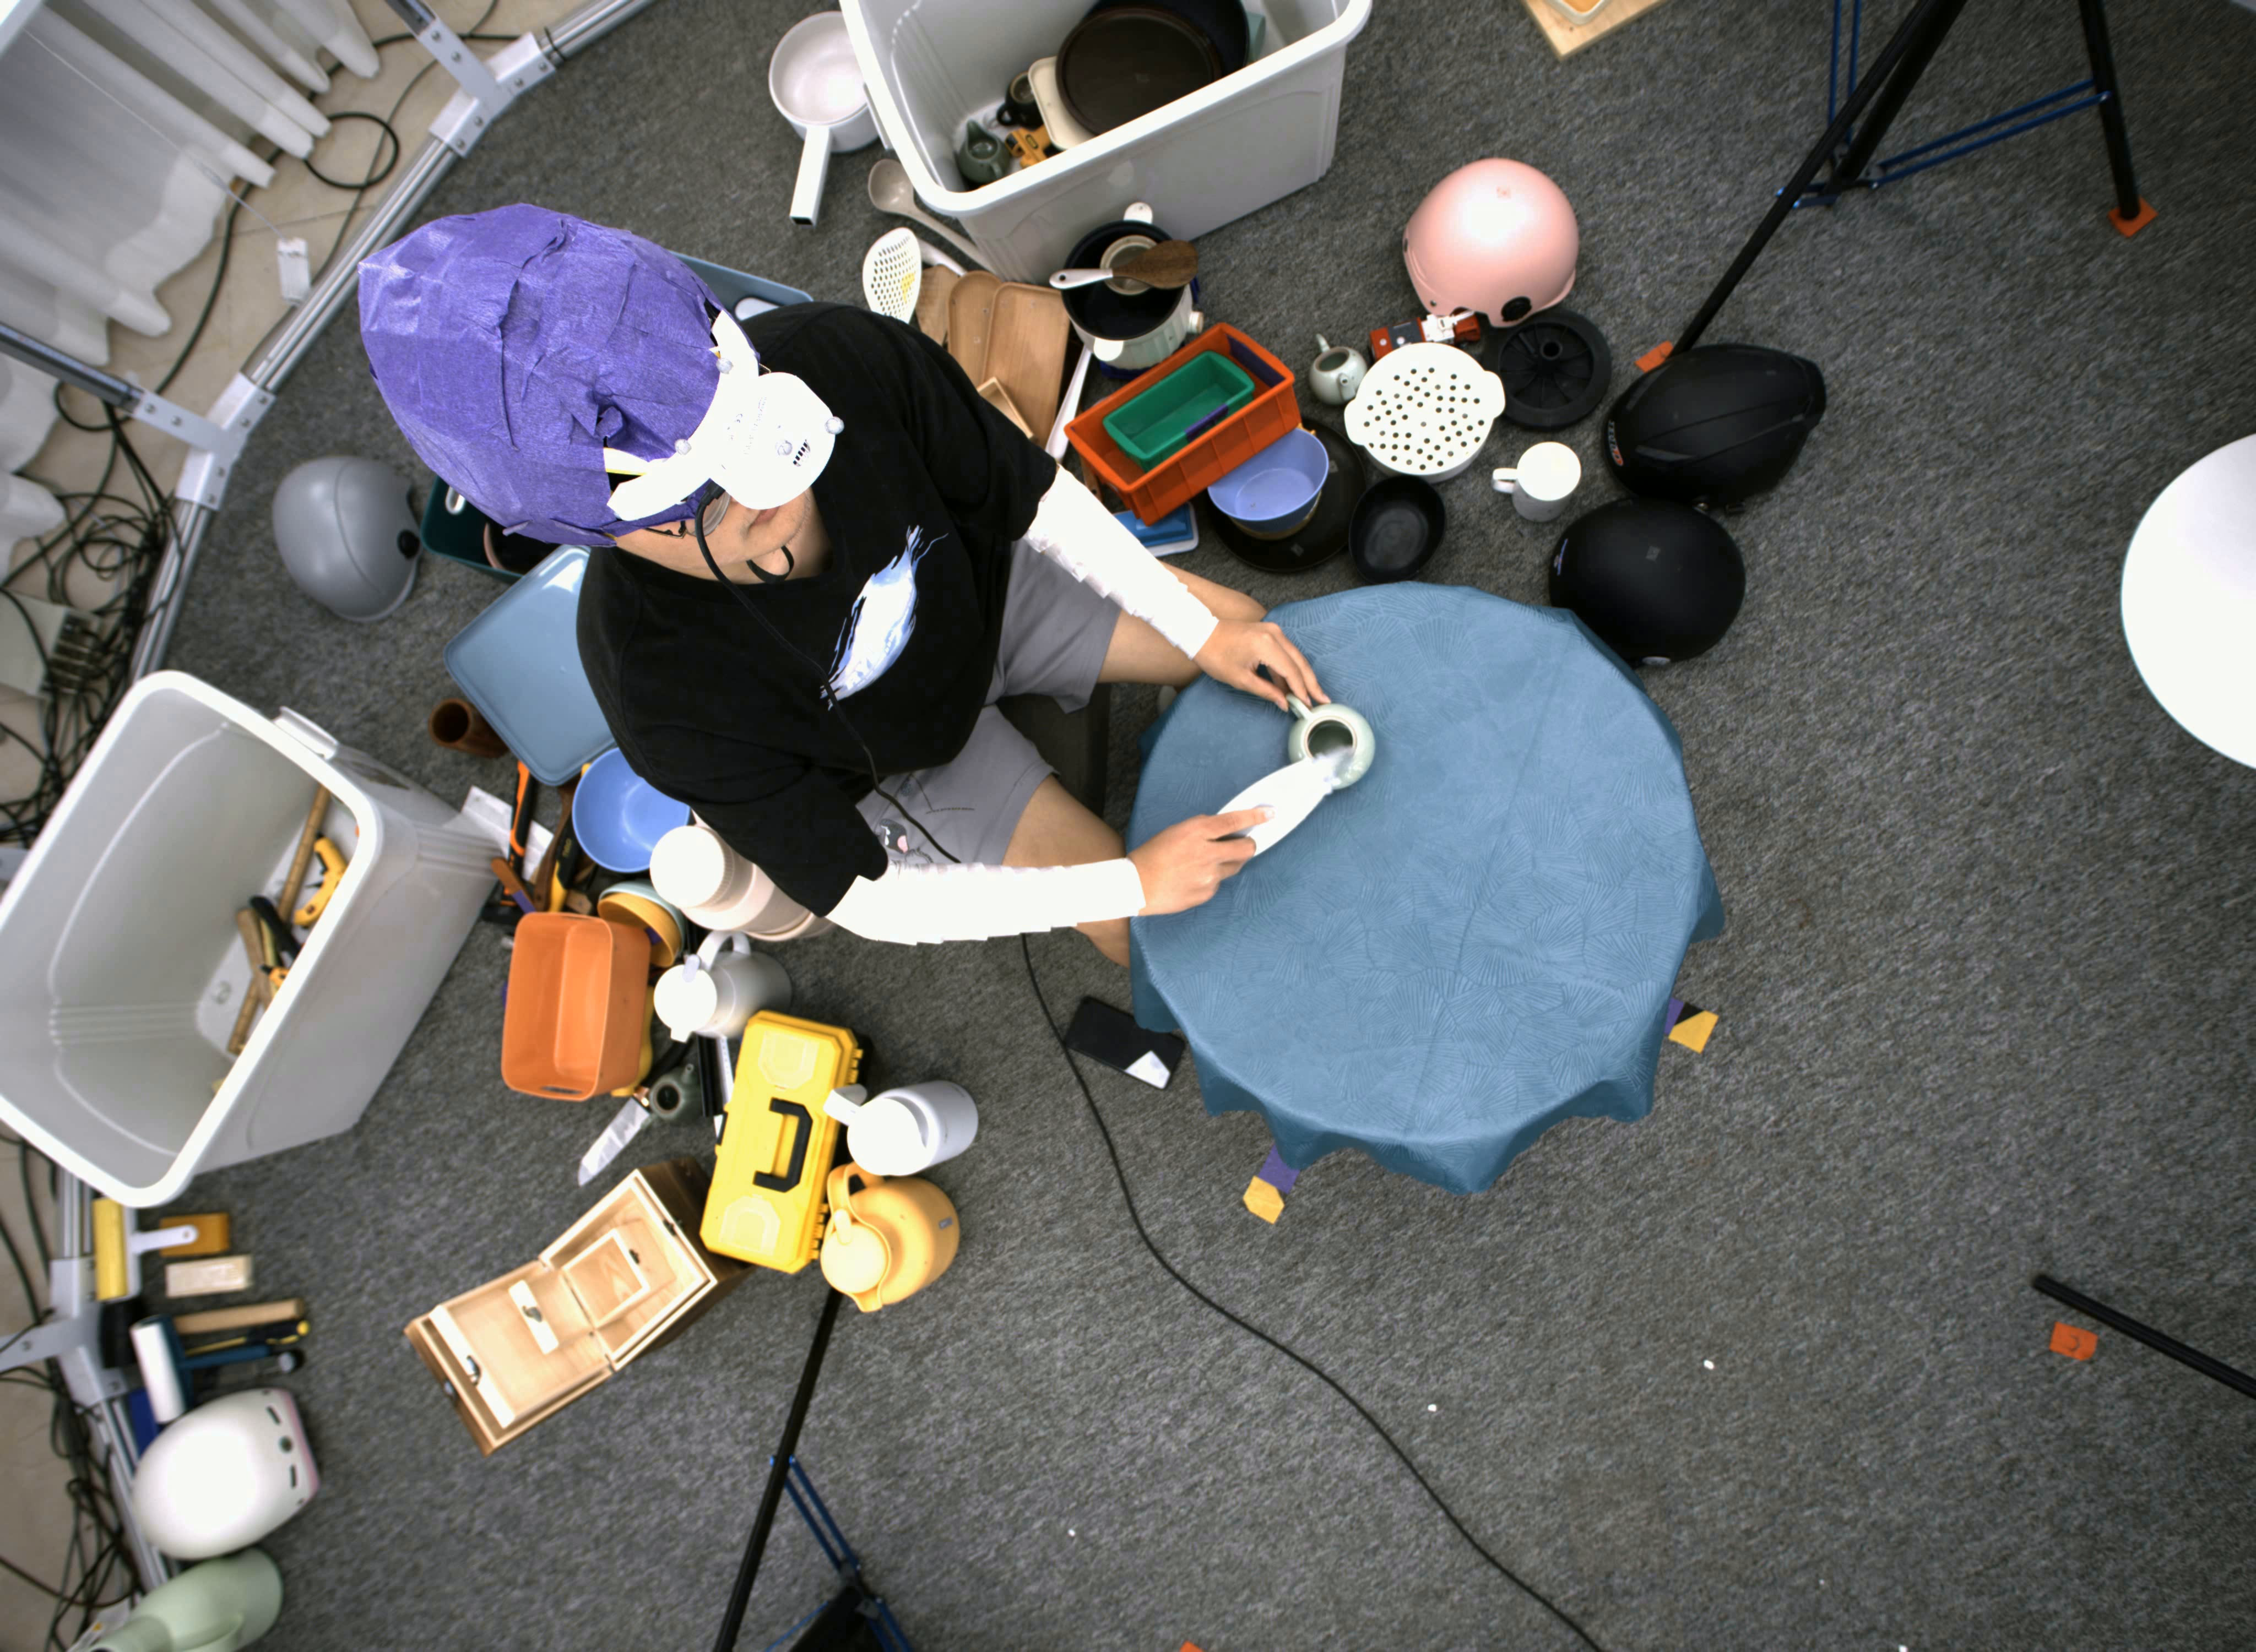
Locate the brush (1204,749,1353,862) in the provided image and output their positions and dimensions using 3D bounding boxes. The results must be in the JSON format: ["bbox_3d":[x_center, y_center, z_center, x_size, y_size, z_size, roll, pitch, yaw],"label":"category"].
[{"bbox_3d":[0.150,-0.023,1.402,0.178,0.092,0.061,-35,89,26],"label":"brush"}]

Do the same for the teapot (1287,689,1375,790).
[{"bbox_3d":[0.208,-0.093,1.448,0.092,0.061,0.128,-36,81,8],"label":"teapot"}]
